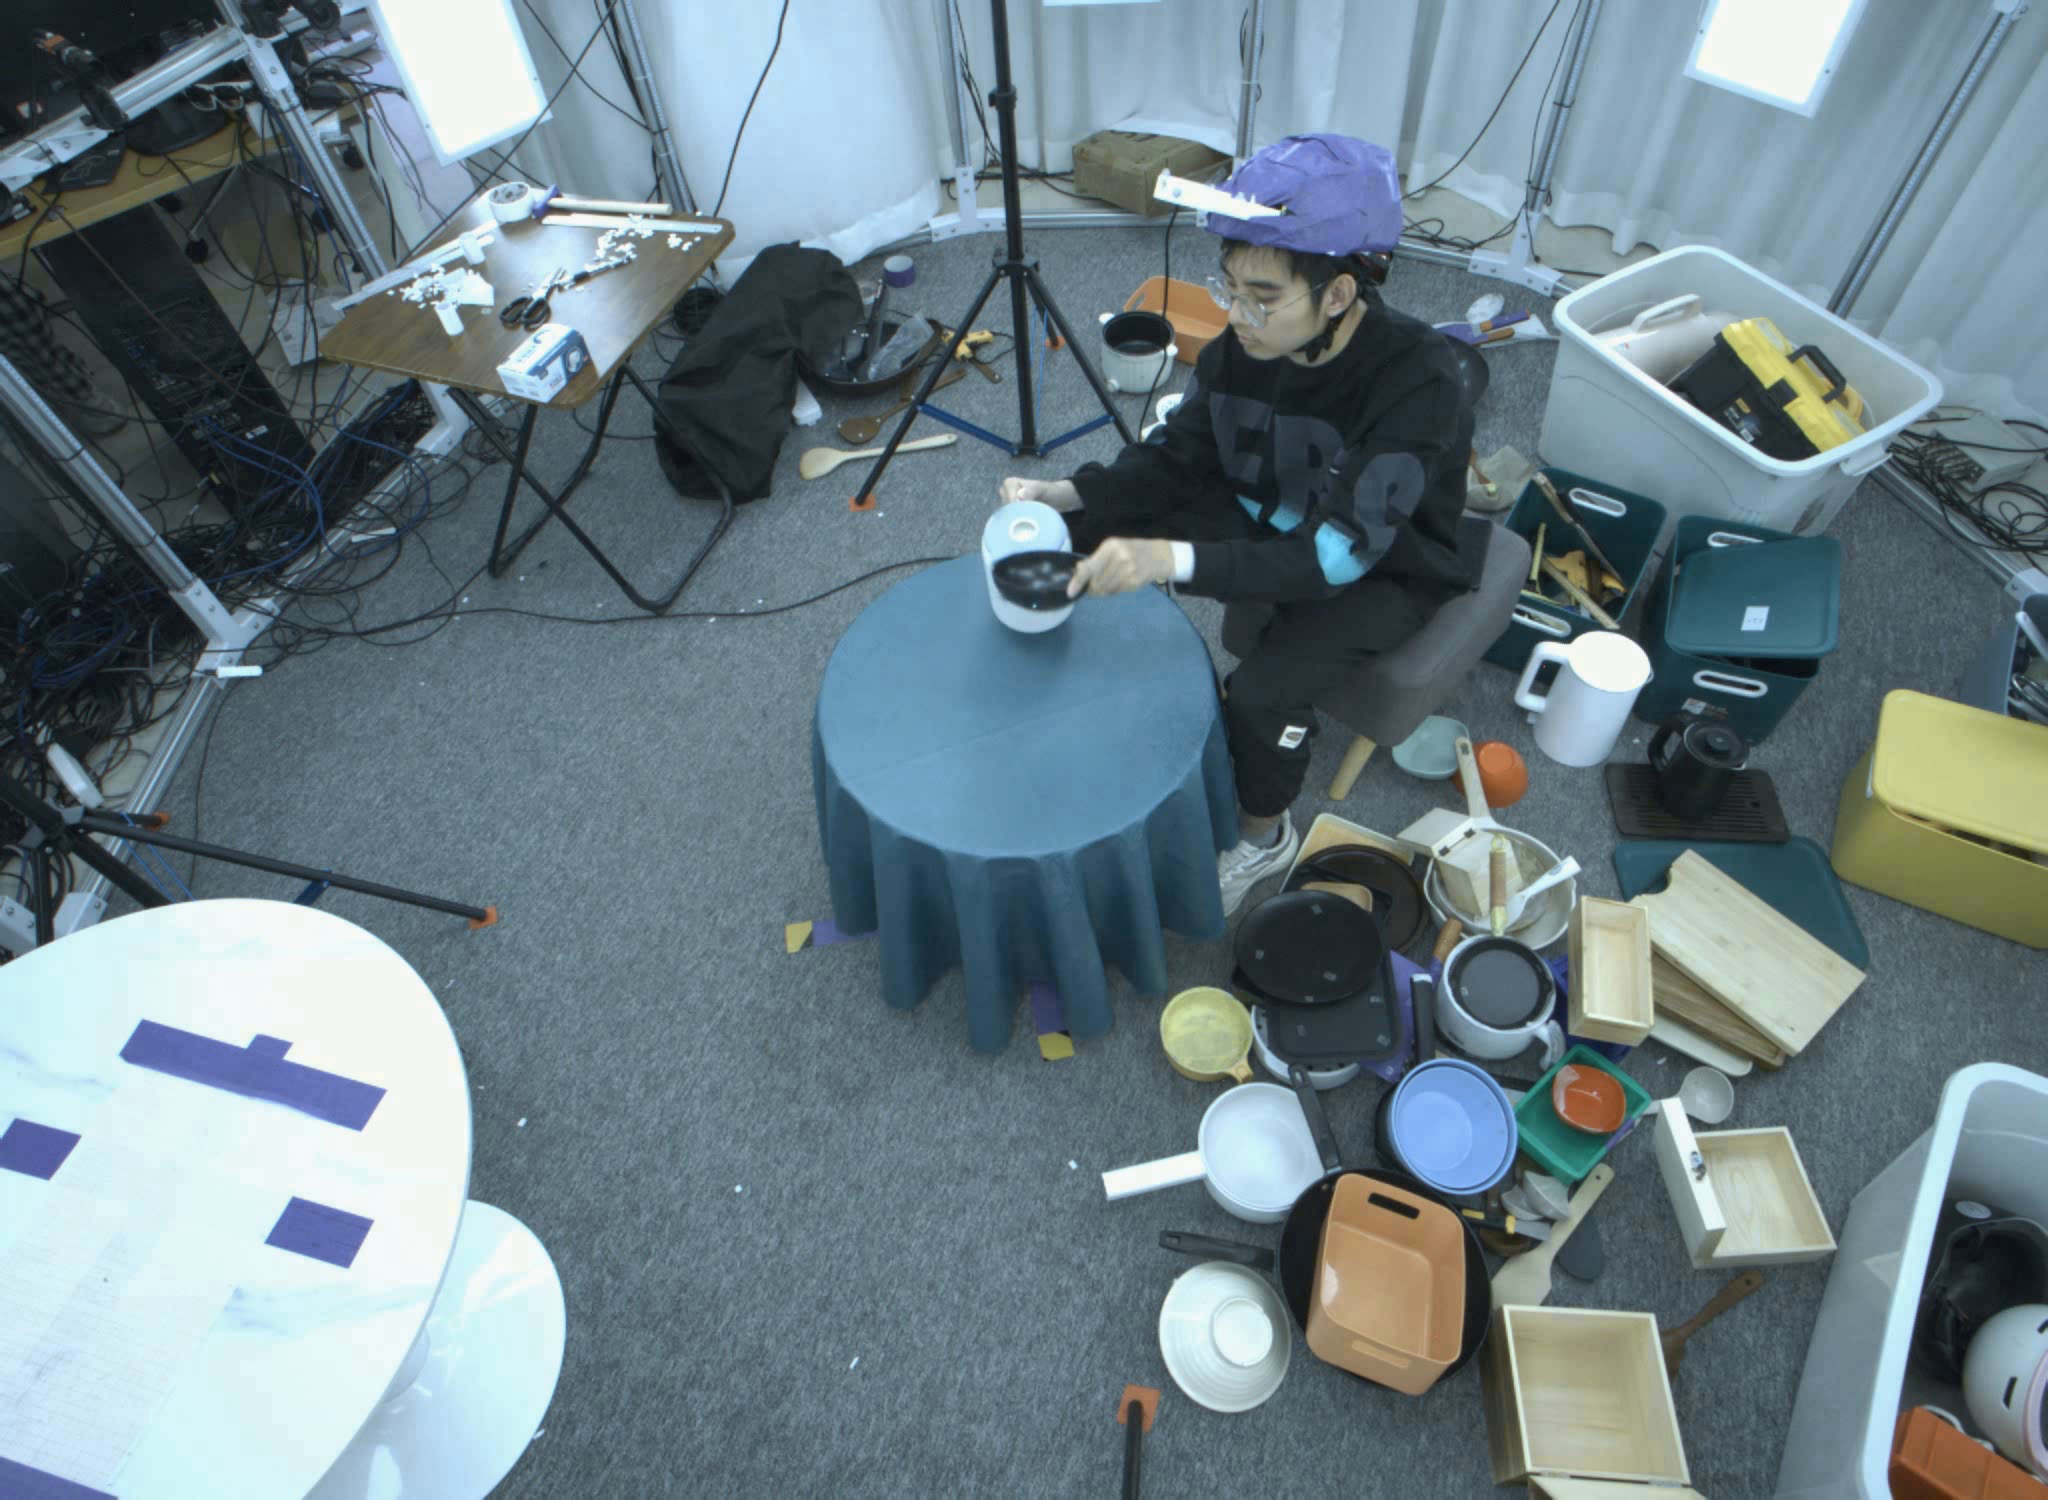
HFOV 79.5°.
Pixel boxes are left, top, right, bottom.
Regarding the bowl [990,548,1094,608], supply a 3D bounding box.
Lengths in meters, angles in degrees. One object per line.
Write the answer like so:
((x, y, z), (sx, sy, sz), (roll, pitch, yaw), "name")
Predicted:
((0.024, -0.225, 1.638), (0.140, 0.050, 0.139), (1, 28, 1), "bowl")

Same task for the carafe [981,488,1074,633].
((0.005, -0.294, 1.838), (0.132, 0.184, 0.189), (-5, 59, 1), "carafe")
